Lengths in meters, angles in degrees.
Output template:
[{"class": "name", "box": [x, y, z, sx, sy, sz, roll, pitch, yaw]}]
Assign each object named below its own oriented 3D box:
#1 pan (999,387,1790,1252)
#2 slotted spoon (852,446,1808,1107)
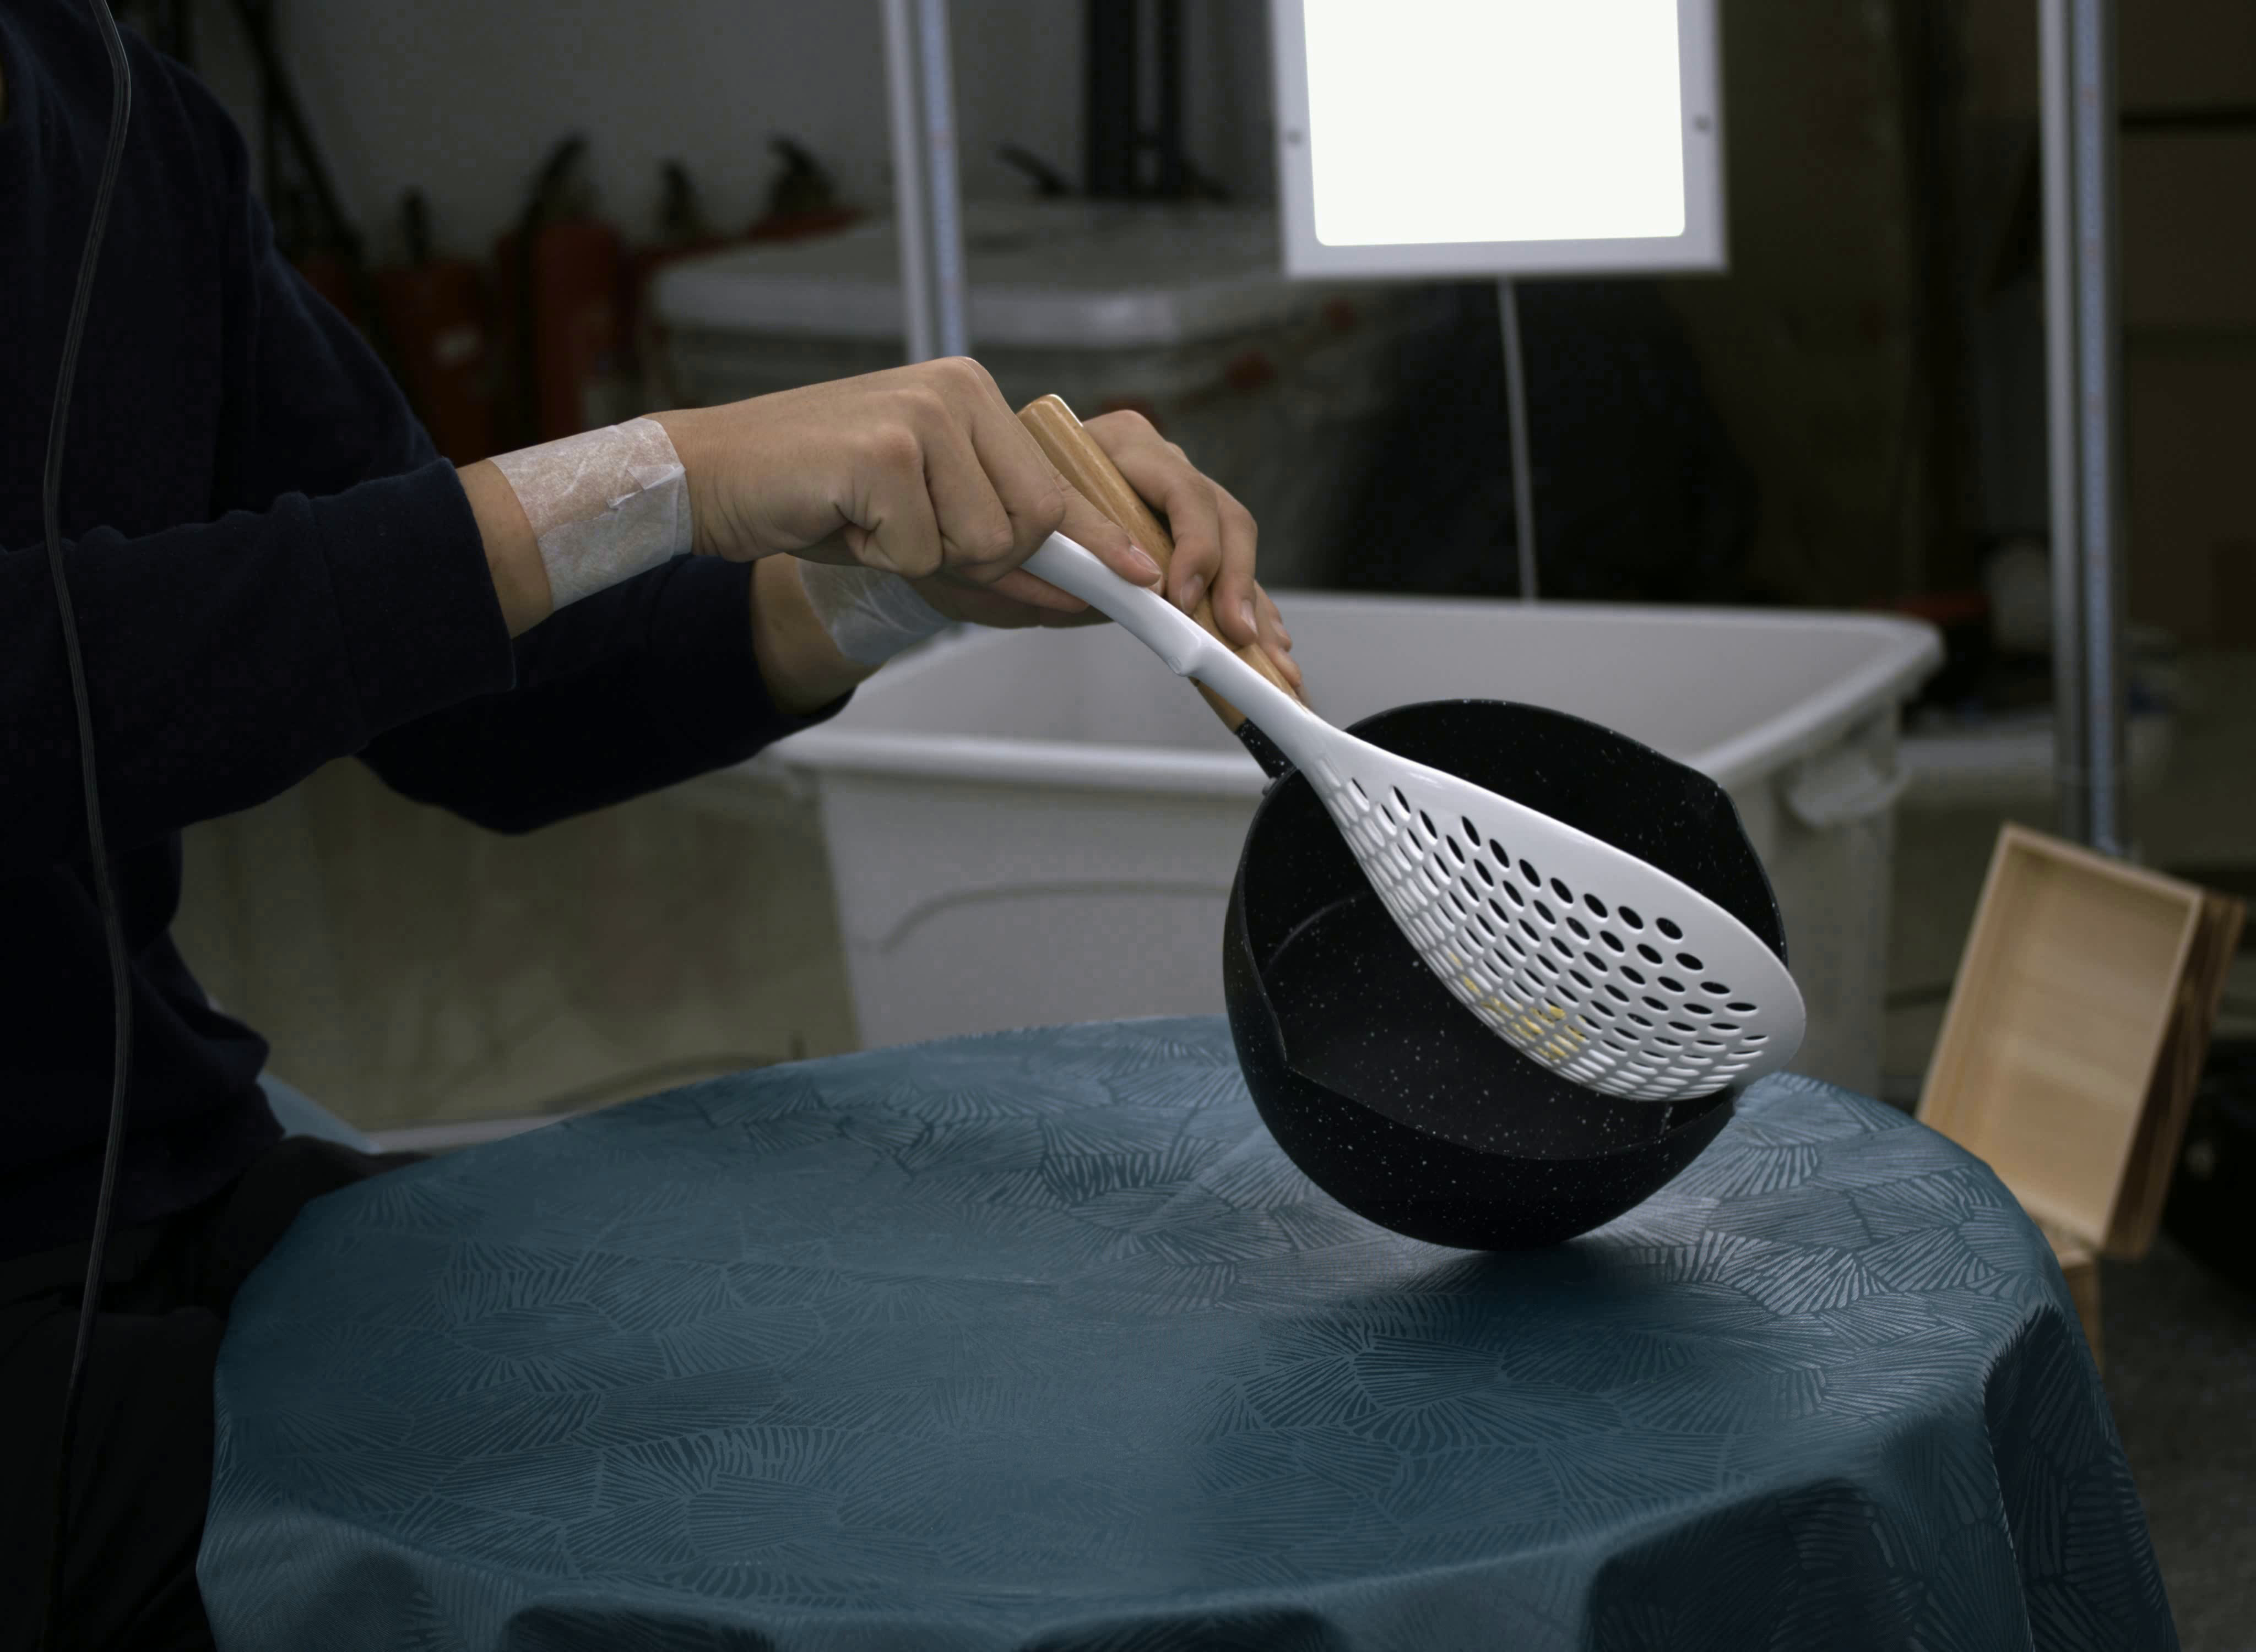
[{"class": "pan", "box": [0.067, -0.004, 1.834, 0.203, 0.109, 0.346, -34, 66, -28]}, {"class": "slotted spoon", "box": [0.059, -0.017, 1.713, 0.049, 0.347, 0.139, -51, 4, -25]}]
